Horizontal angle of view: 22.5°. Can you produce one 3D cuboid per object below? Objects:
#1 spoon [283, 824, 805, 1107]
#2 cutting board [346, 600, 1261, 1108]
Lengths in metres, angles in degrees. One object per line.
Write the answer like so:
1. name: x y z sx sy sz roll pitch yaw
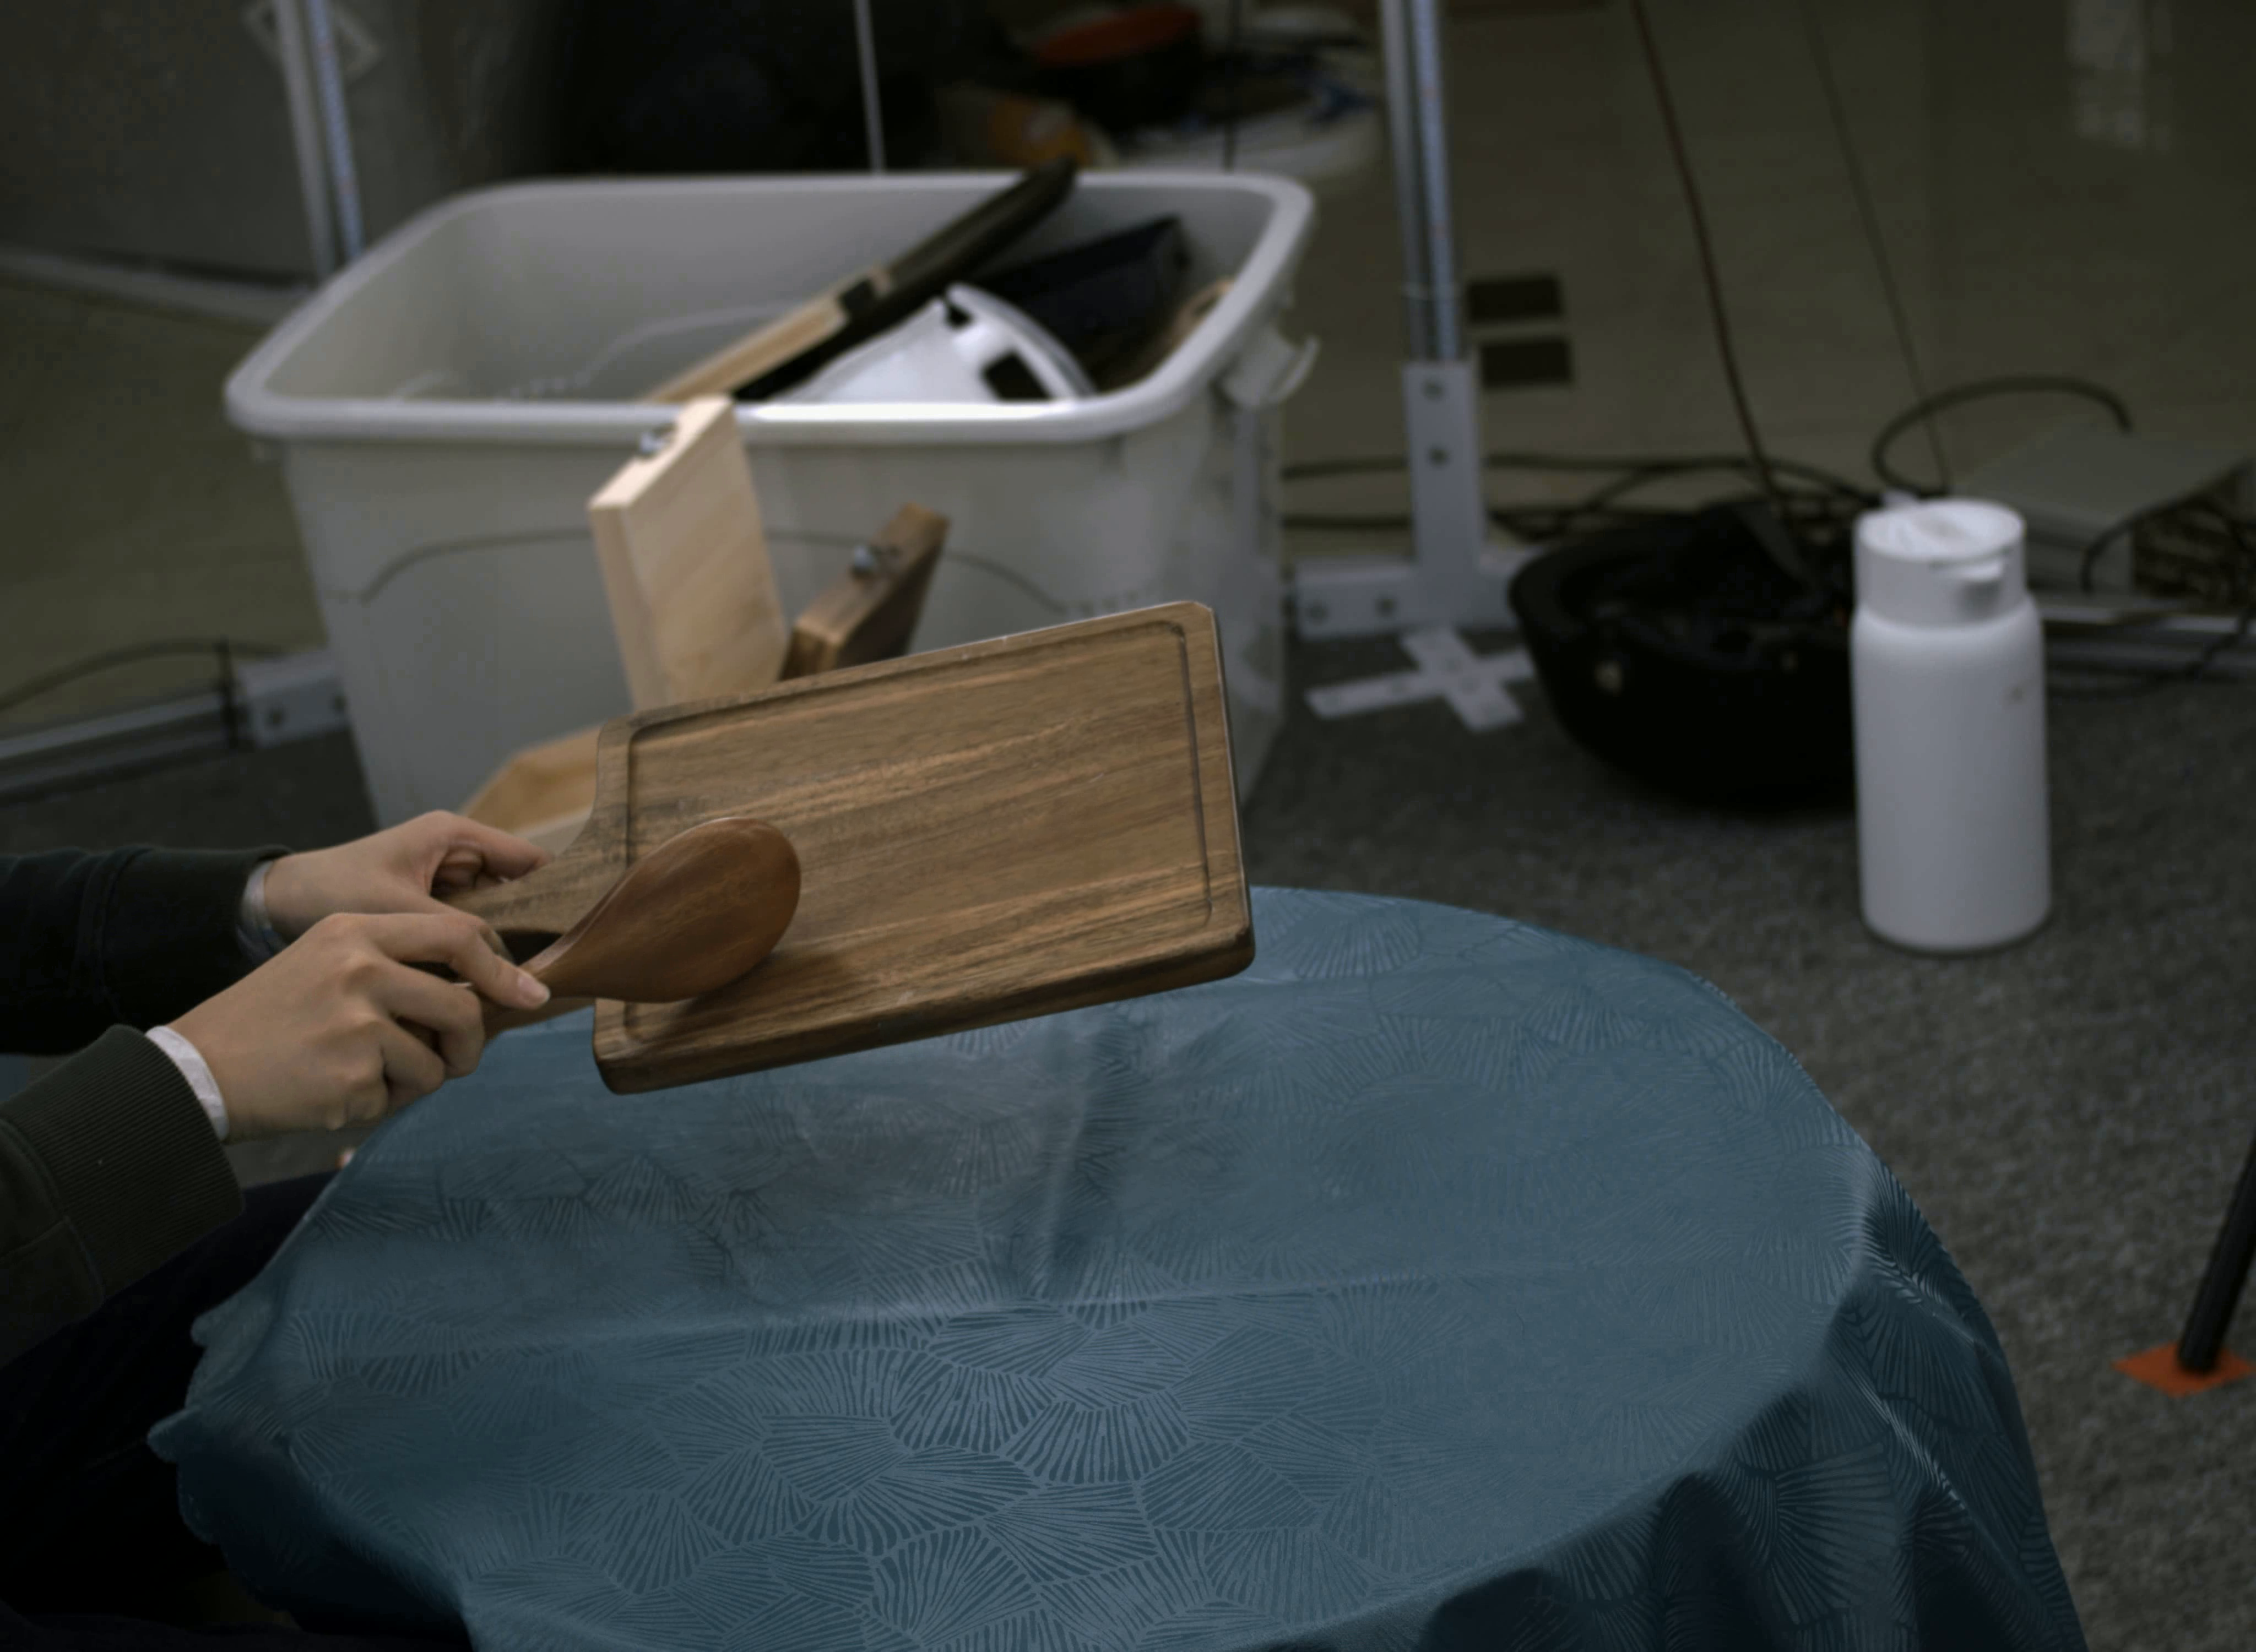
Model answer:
1. spoon: -0.209 0.056 2.070 0.214 0.077 0.017 -22 46 -24
2. cutting board: -0.129 0.017 2.168 0.352 0.023 0.197 -11 45 6
